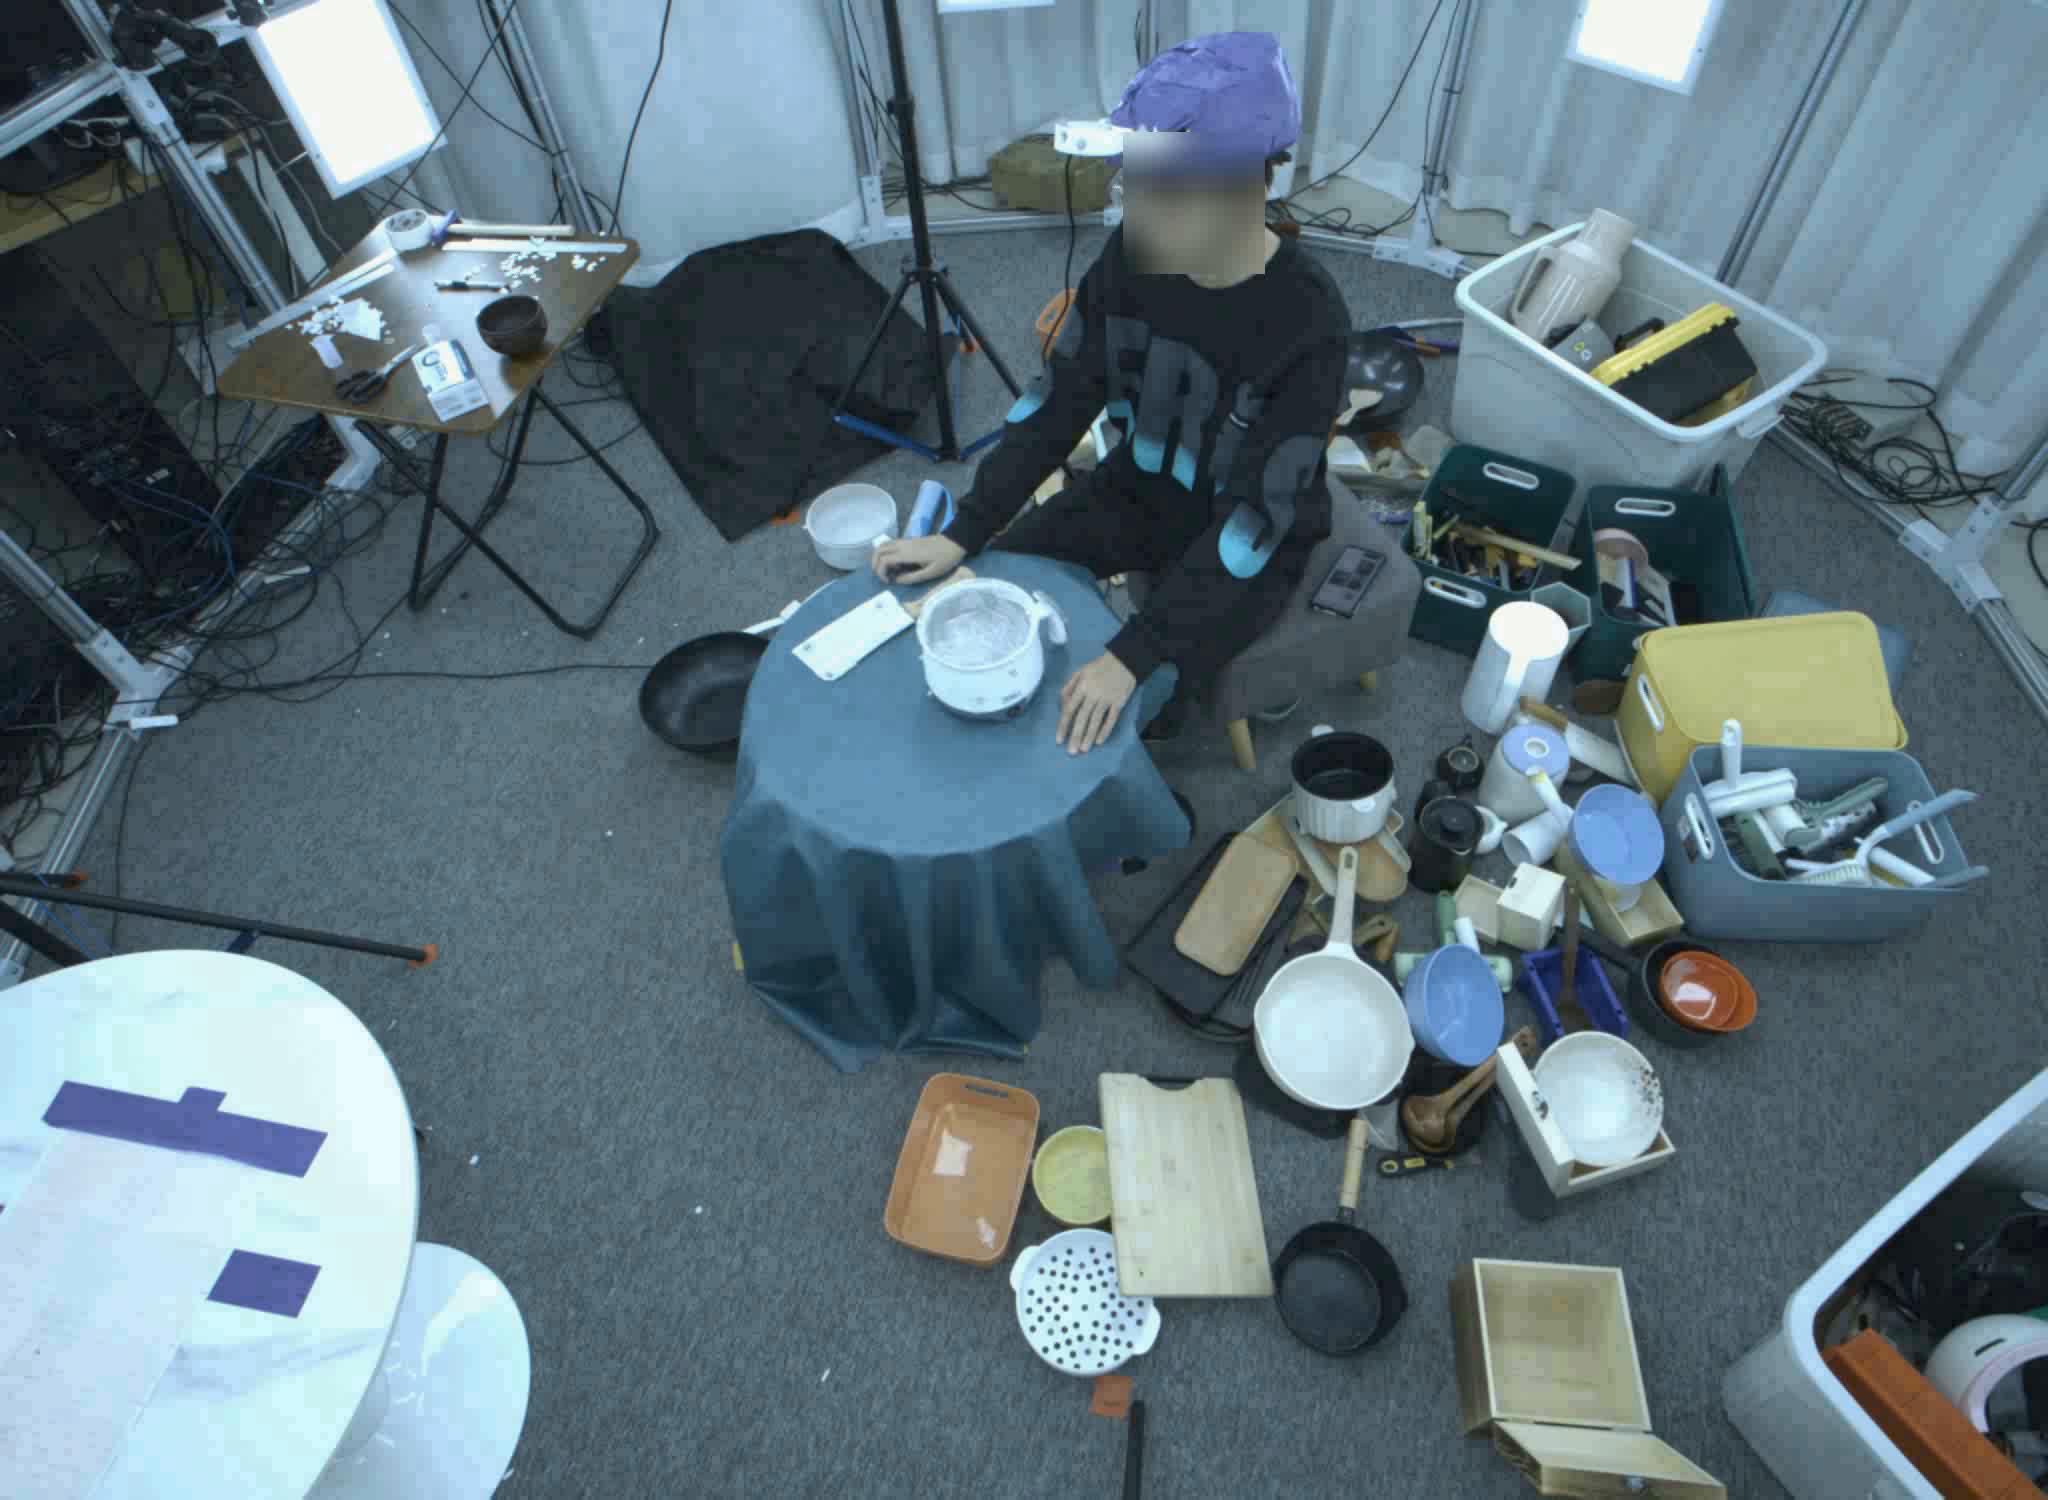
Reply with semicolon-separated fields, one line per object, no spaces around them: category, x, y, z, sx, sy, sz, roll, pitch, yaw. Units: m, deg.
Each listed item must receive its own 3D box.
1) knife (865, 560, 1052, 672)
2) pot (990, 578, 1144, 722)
knife;-0.096;-0.218;1.934;0.317;0.022;0.112;-29;58;-14
pot;0.069;-0.156;1.810;0.235;0.138;0.175;-24;57;-13
